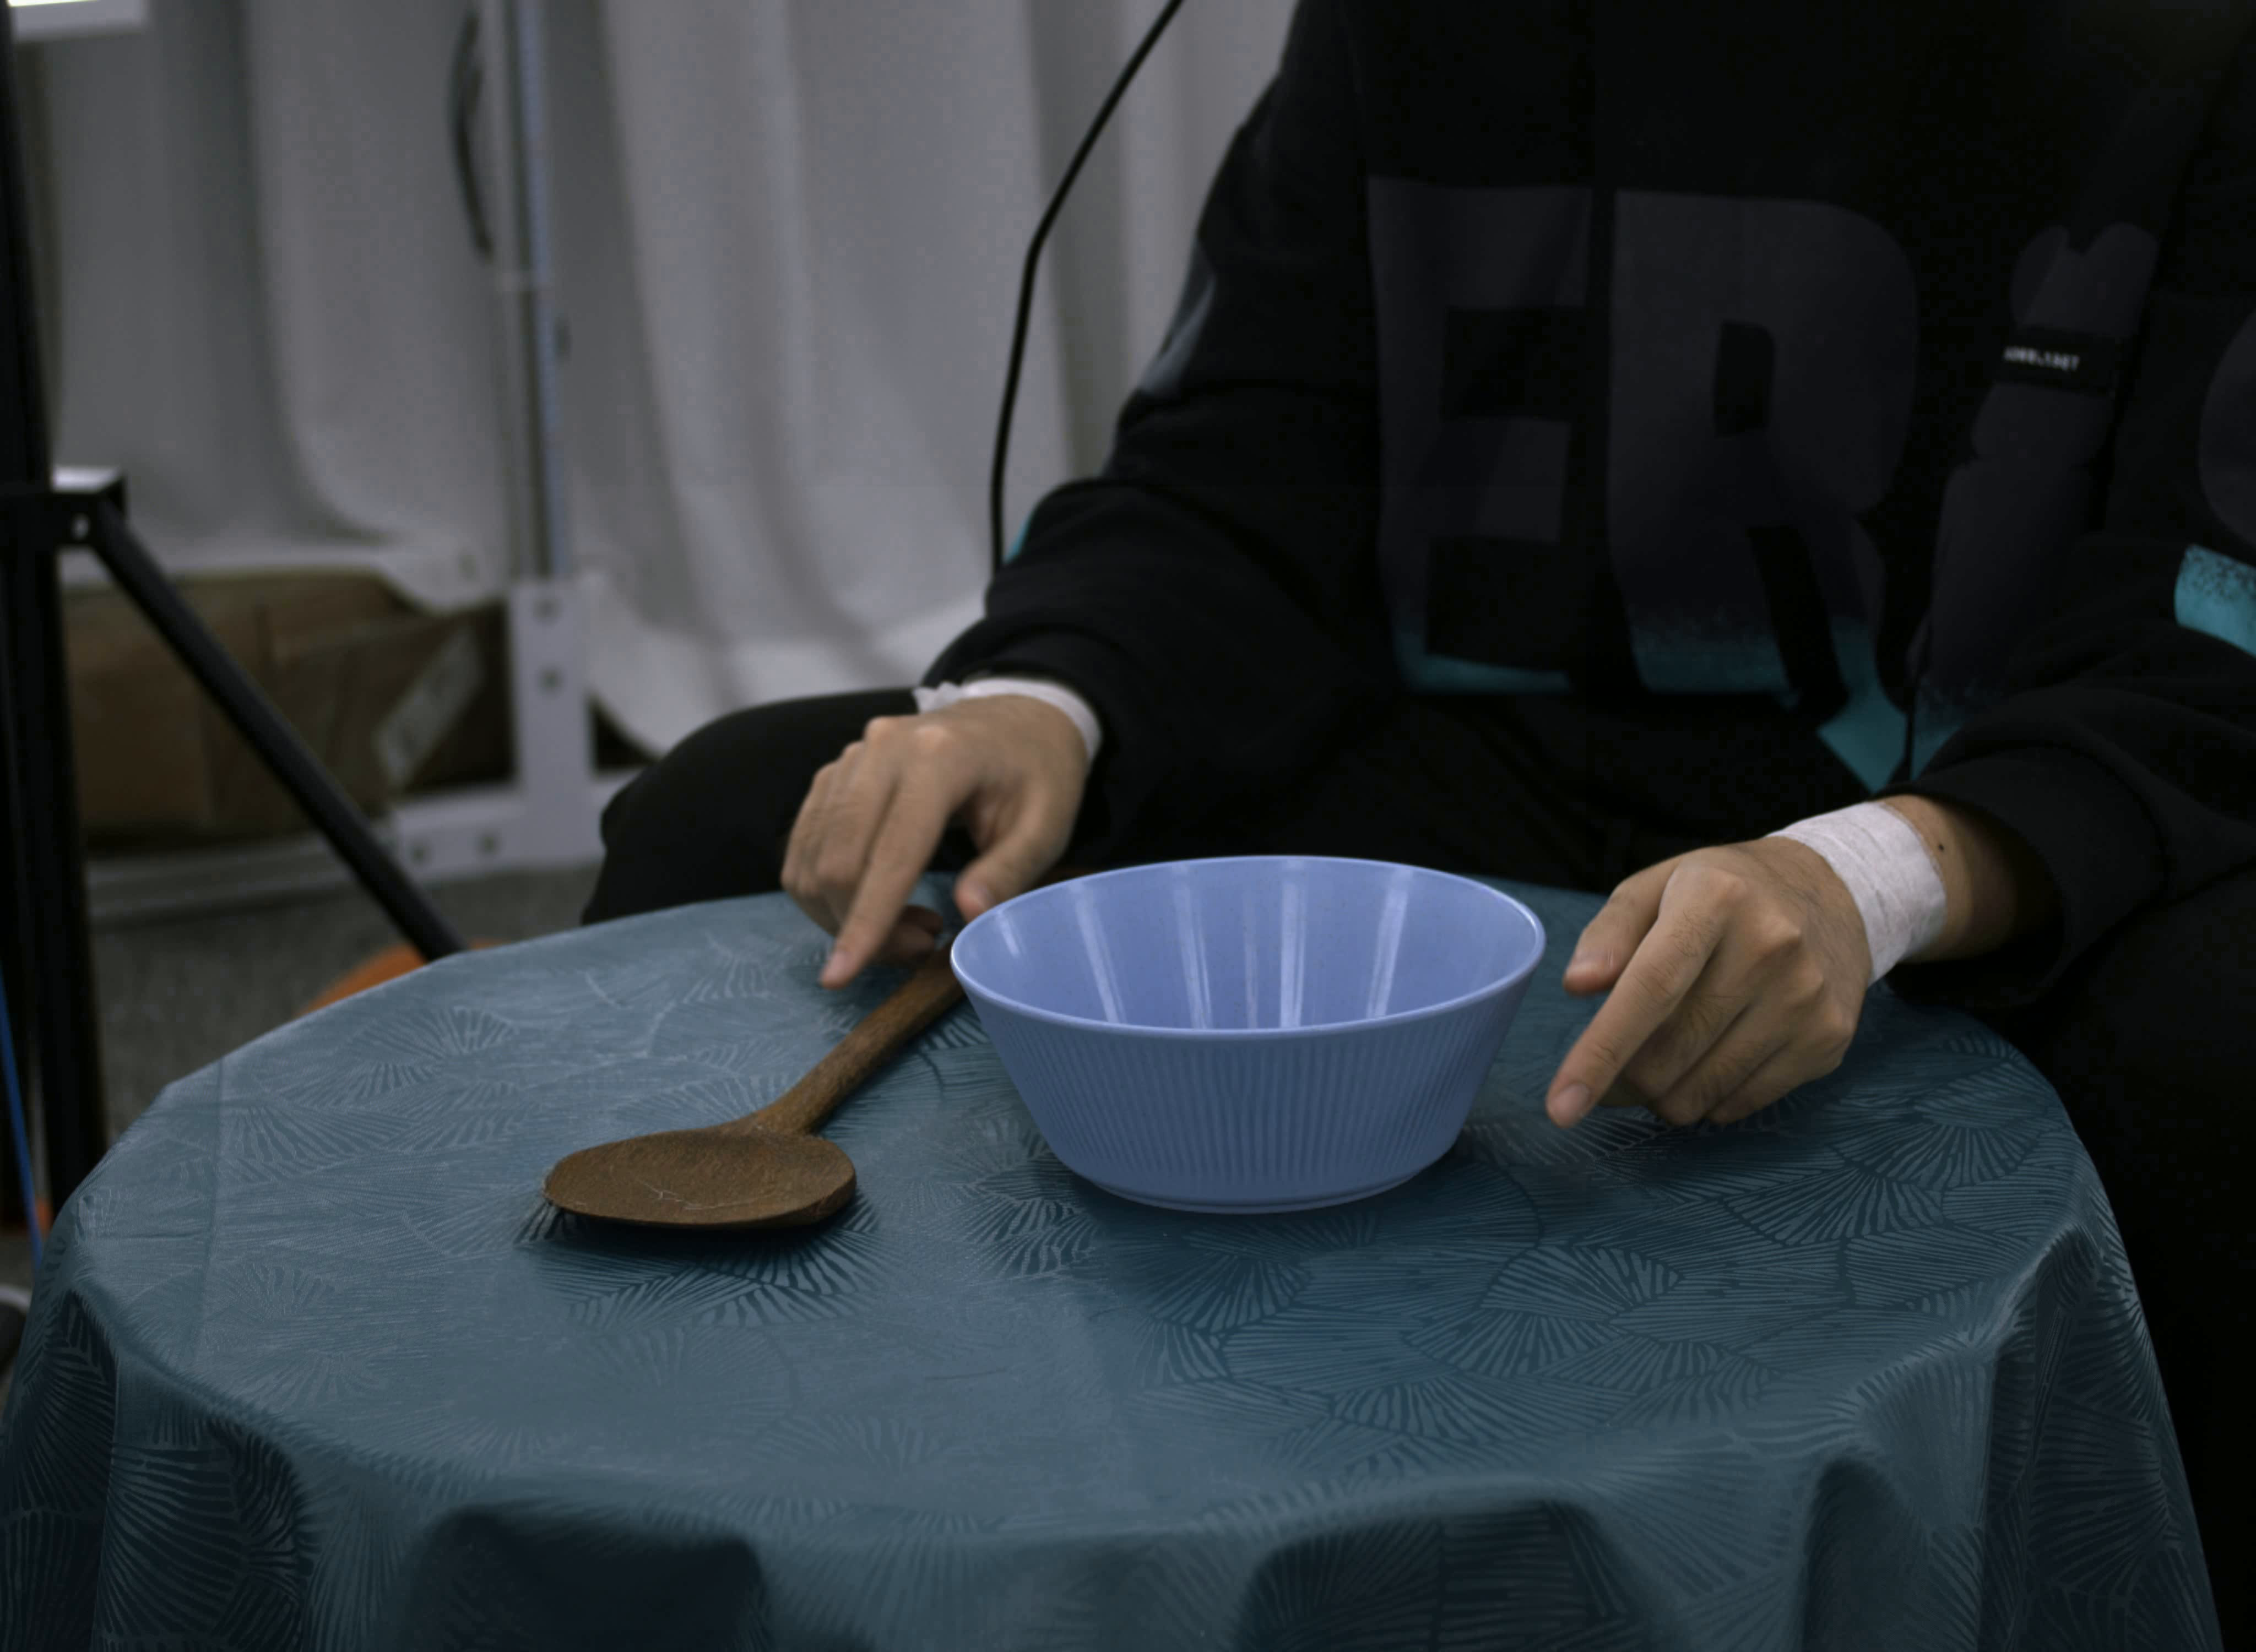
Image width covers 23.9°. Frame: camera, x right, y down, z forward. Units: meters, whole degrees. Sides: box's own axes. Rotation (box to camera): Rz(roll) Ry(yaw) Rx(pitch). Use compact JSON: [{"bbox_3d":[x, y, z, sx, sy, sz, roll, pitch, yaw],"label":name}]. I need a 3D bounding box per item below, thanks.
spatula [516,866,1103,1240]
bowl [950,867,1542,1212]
[{"bbox_3d":[-0.079,0.066,1.694,0.097,0.016,0.381,3,17,19],"label":"spatula"},{"bbox_3d":[0.035,0.065,1.576,0.175,0.070,0.177,-2,15,-1],"label":"bowl"}]
